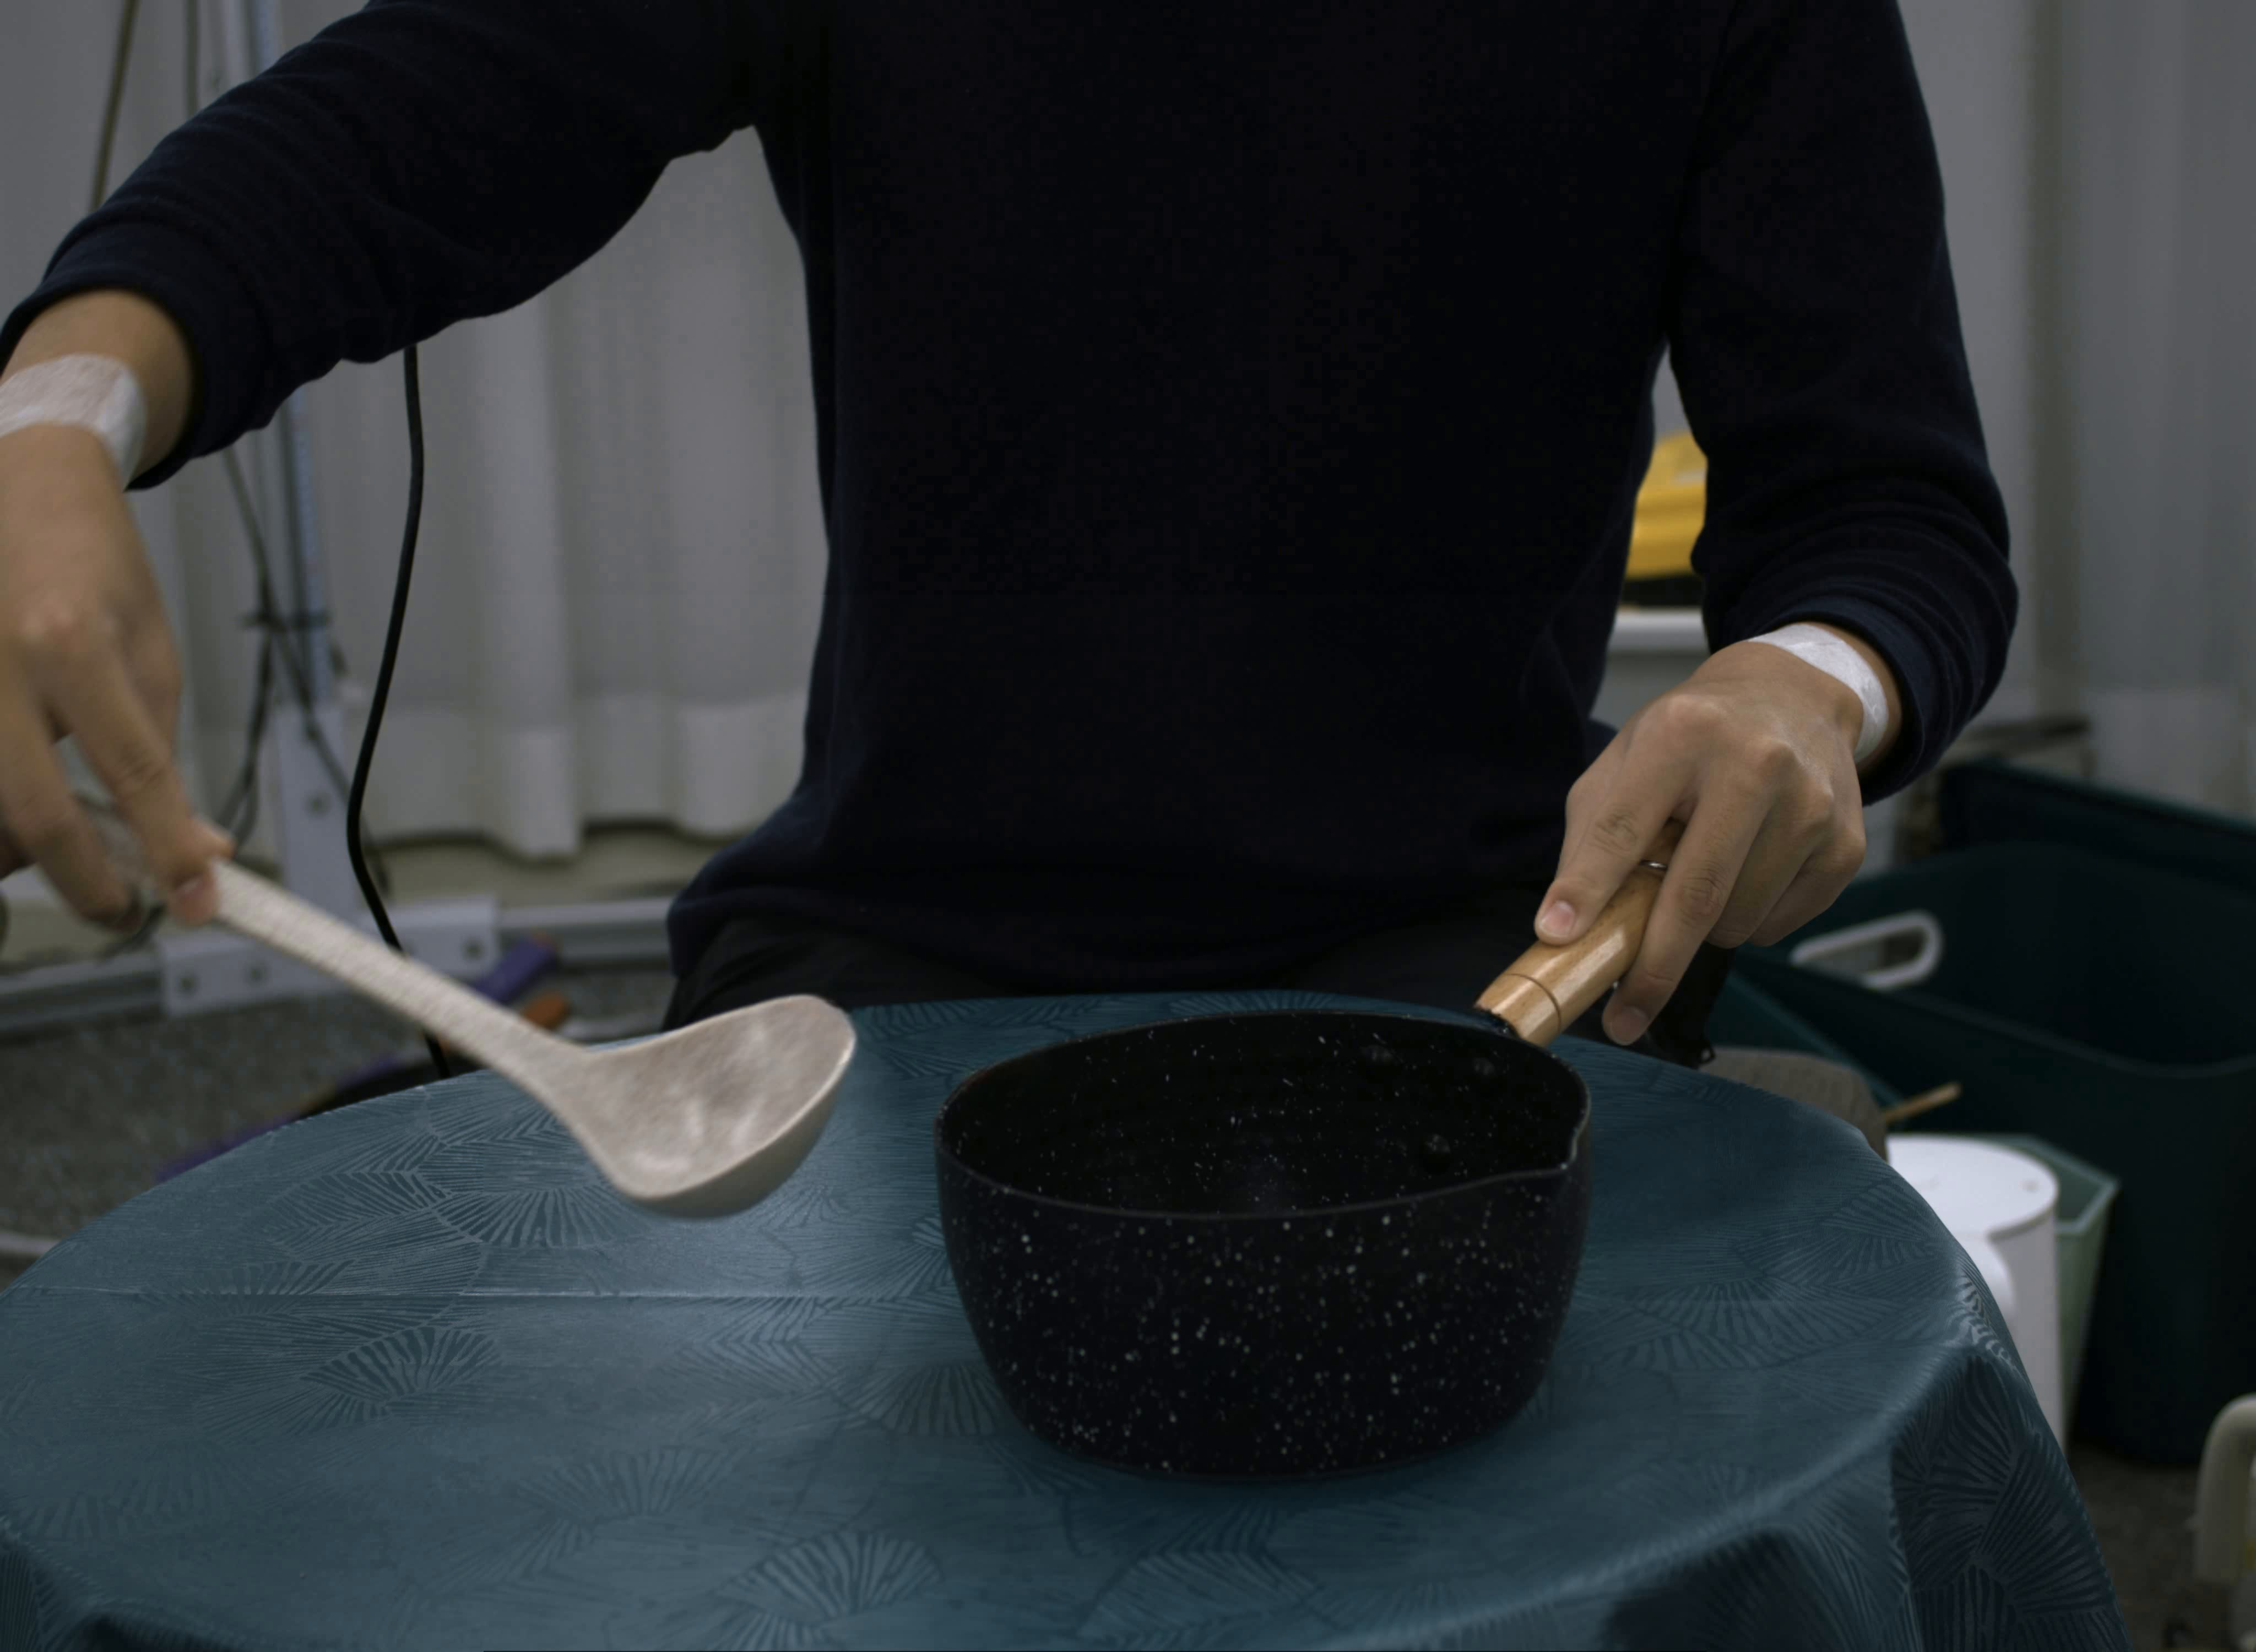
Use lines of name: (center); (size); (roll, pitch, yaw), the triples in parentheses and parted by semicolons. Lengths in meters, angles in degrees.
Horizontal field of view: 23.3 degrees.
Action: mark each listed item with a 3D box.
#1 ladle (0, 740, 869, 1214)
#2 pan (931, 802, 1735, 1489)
ladle: (-0.203, 0.021, 1.510); (0.274, 0.069, 0.090); (29, 39, -3)
pan: (0.083, 0.088, 1.592); (0.208, 0.108, 0.343); (6, 19, 34)
